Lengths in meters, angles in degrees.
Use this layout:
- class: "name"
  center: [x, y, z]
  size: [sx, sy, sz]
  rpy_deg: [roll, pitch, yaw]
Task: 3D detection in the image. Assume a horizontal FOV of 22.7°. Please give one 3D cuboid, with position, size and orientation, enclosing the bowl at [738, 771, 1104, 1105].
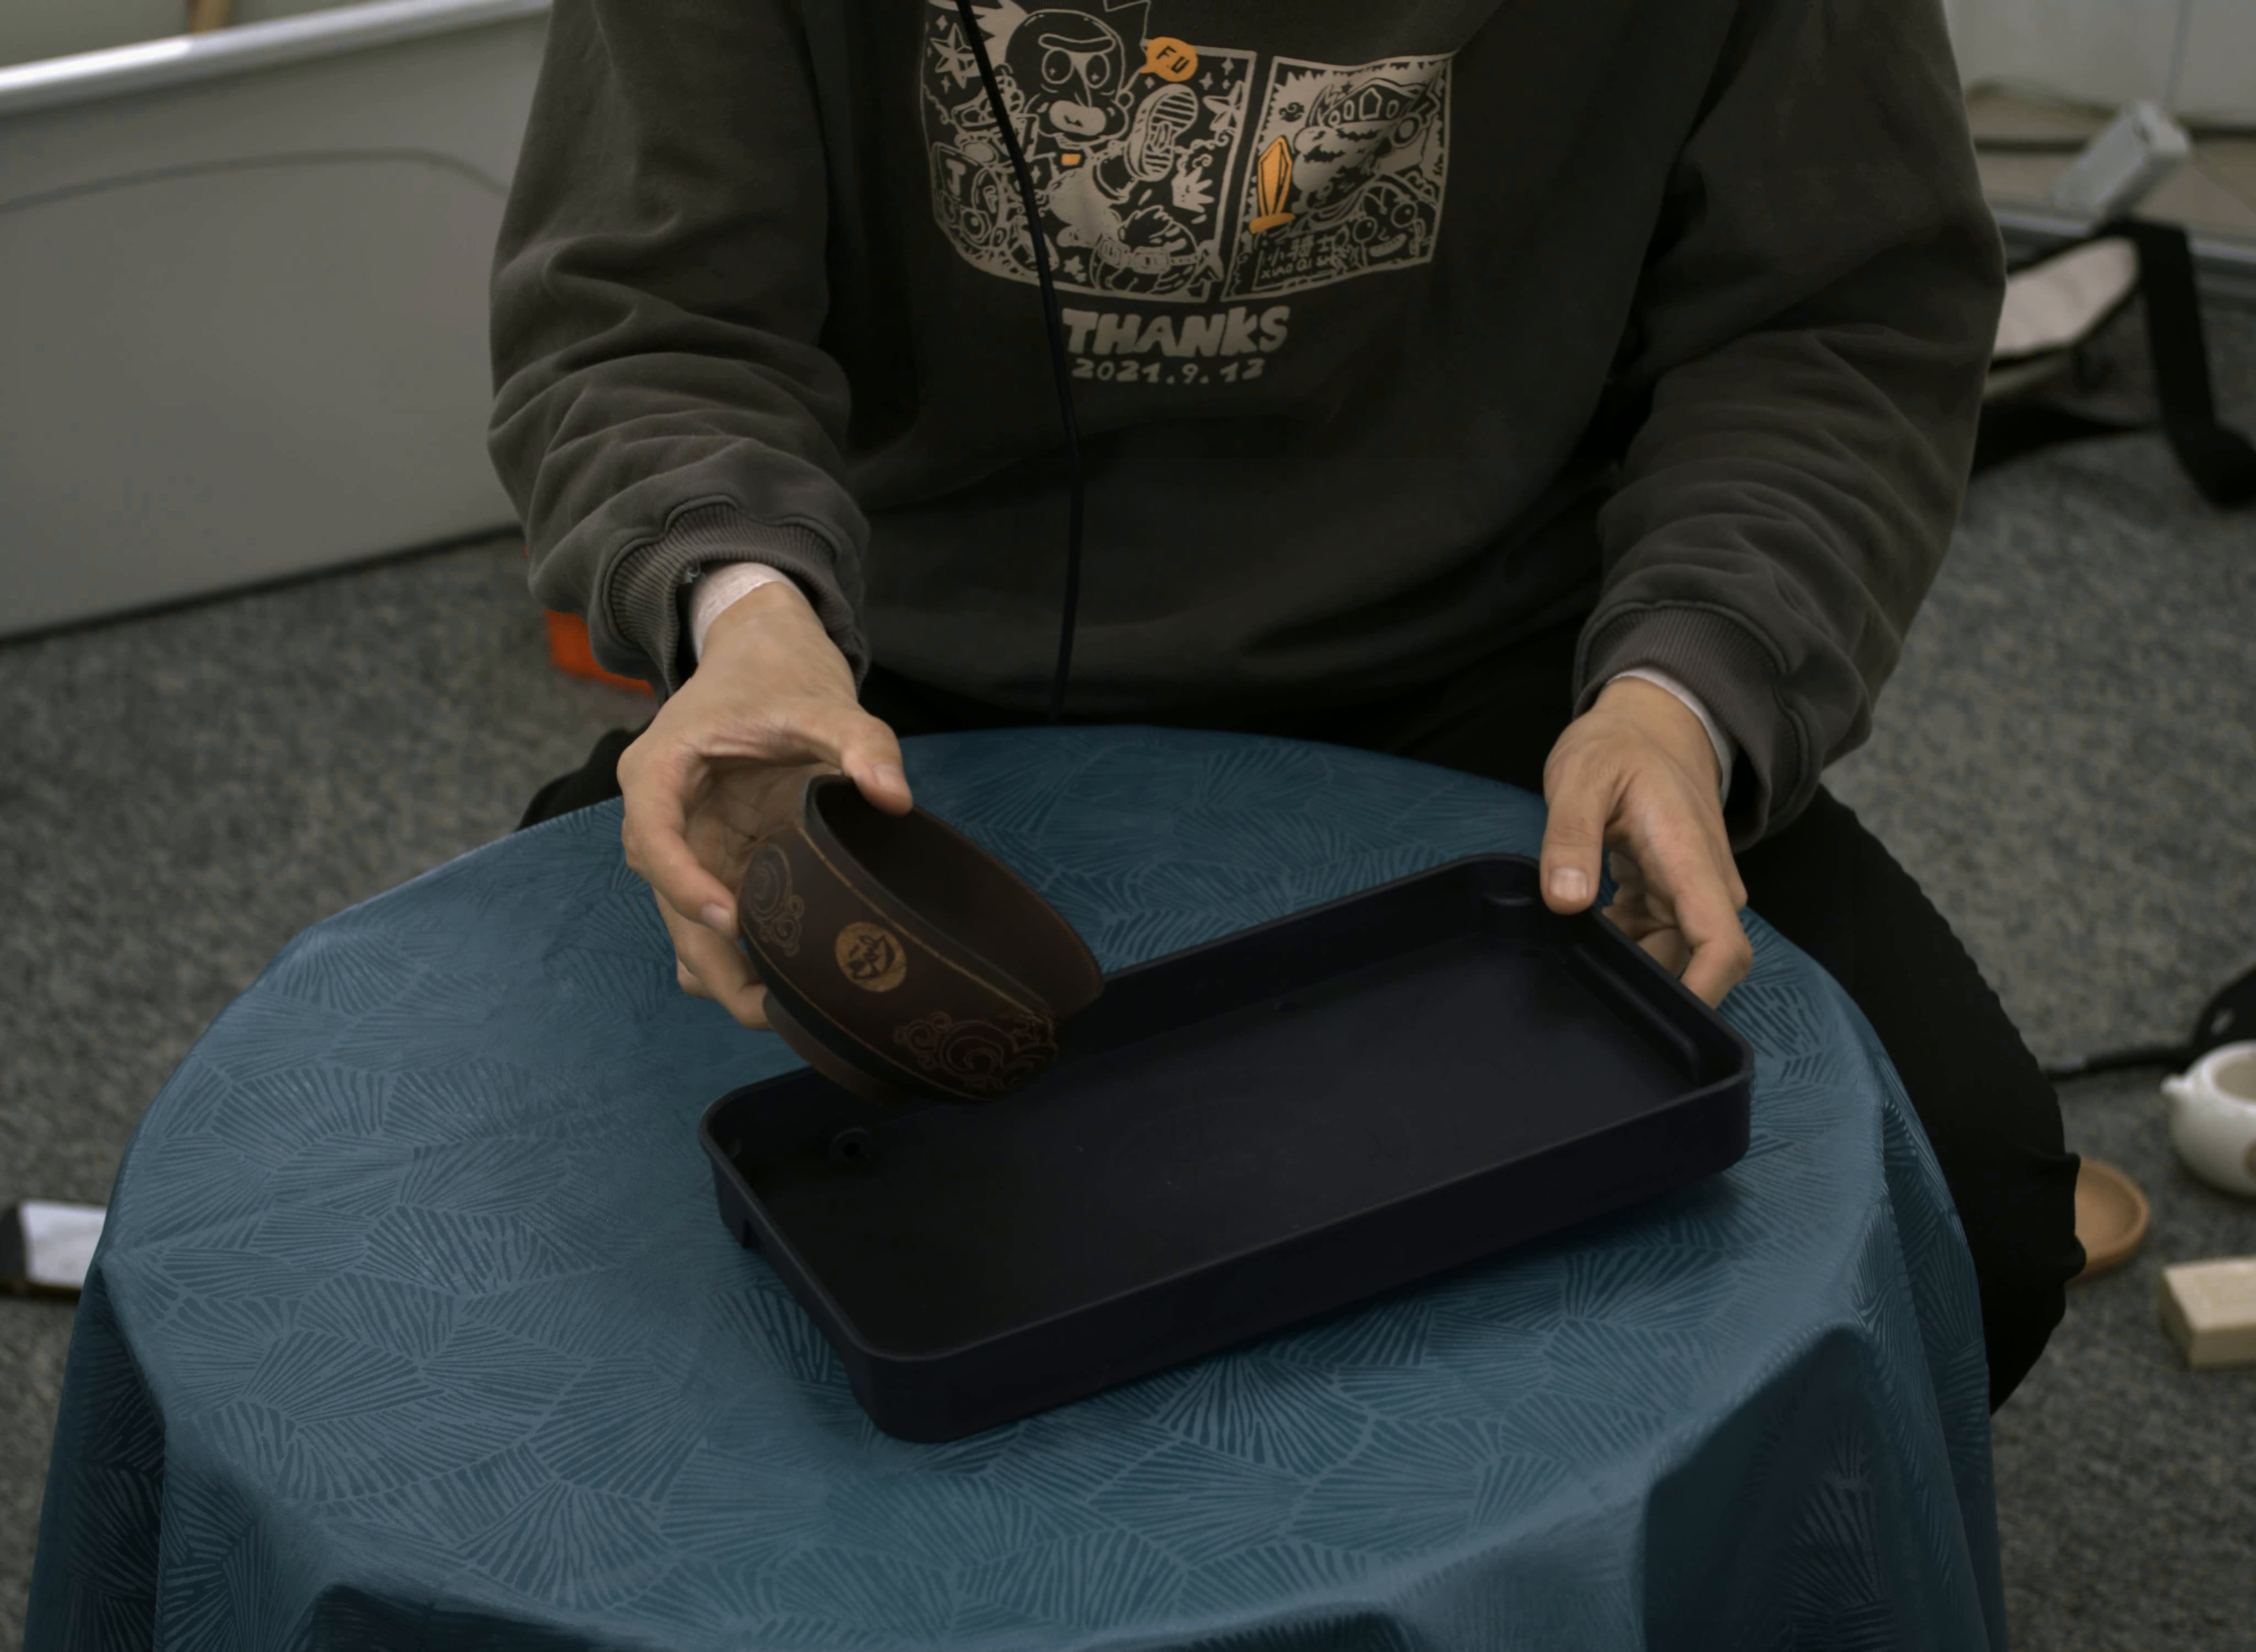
- class: "bowl"
  center: [-0.073, 0.044, 1.779]
  size: [0.118, 0.069, 0.119]
  rpy_deg: [35, 11, -7]

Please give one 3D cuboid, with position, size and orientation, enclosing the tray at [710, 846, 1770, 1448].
- class: "tray"
  center: [0.037, 0.100, 1.844]
  size: [0.319, 0.036, 0.185]
  rpy_deg: [-19, 30, -21]
